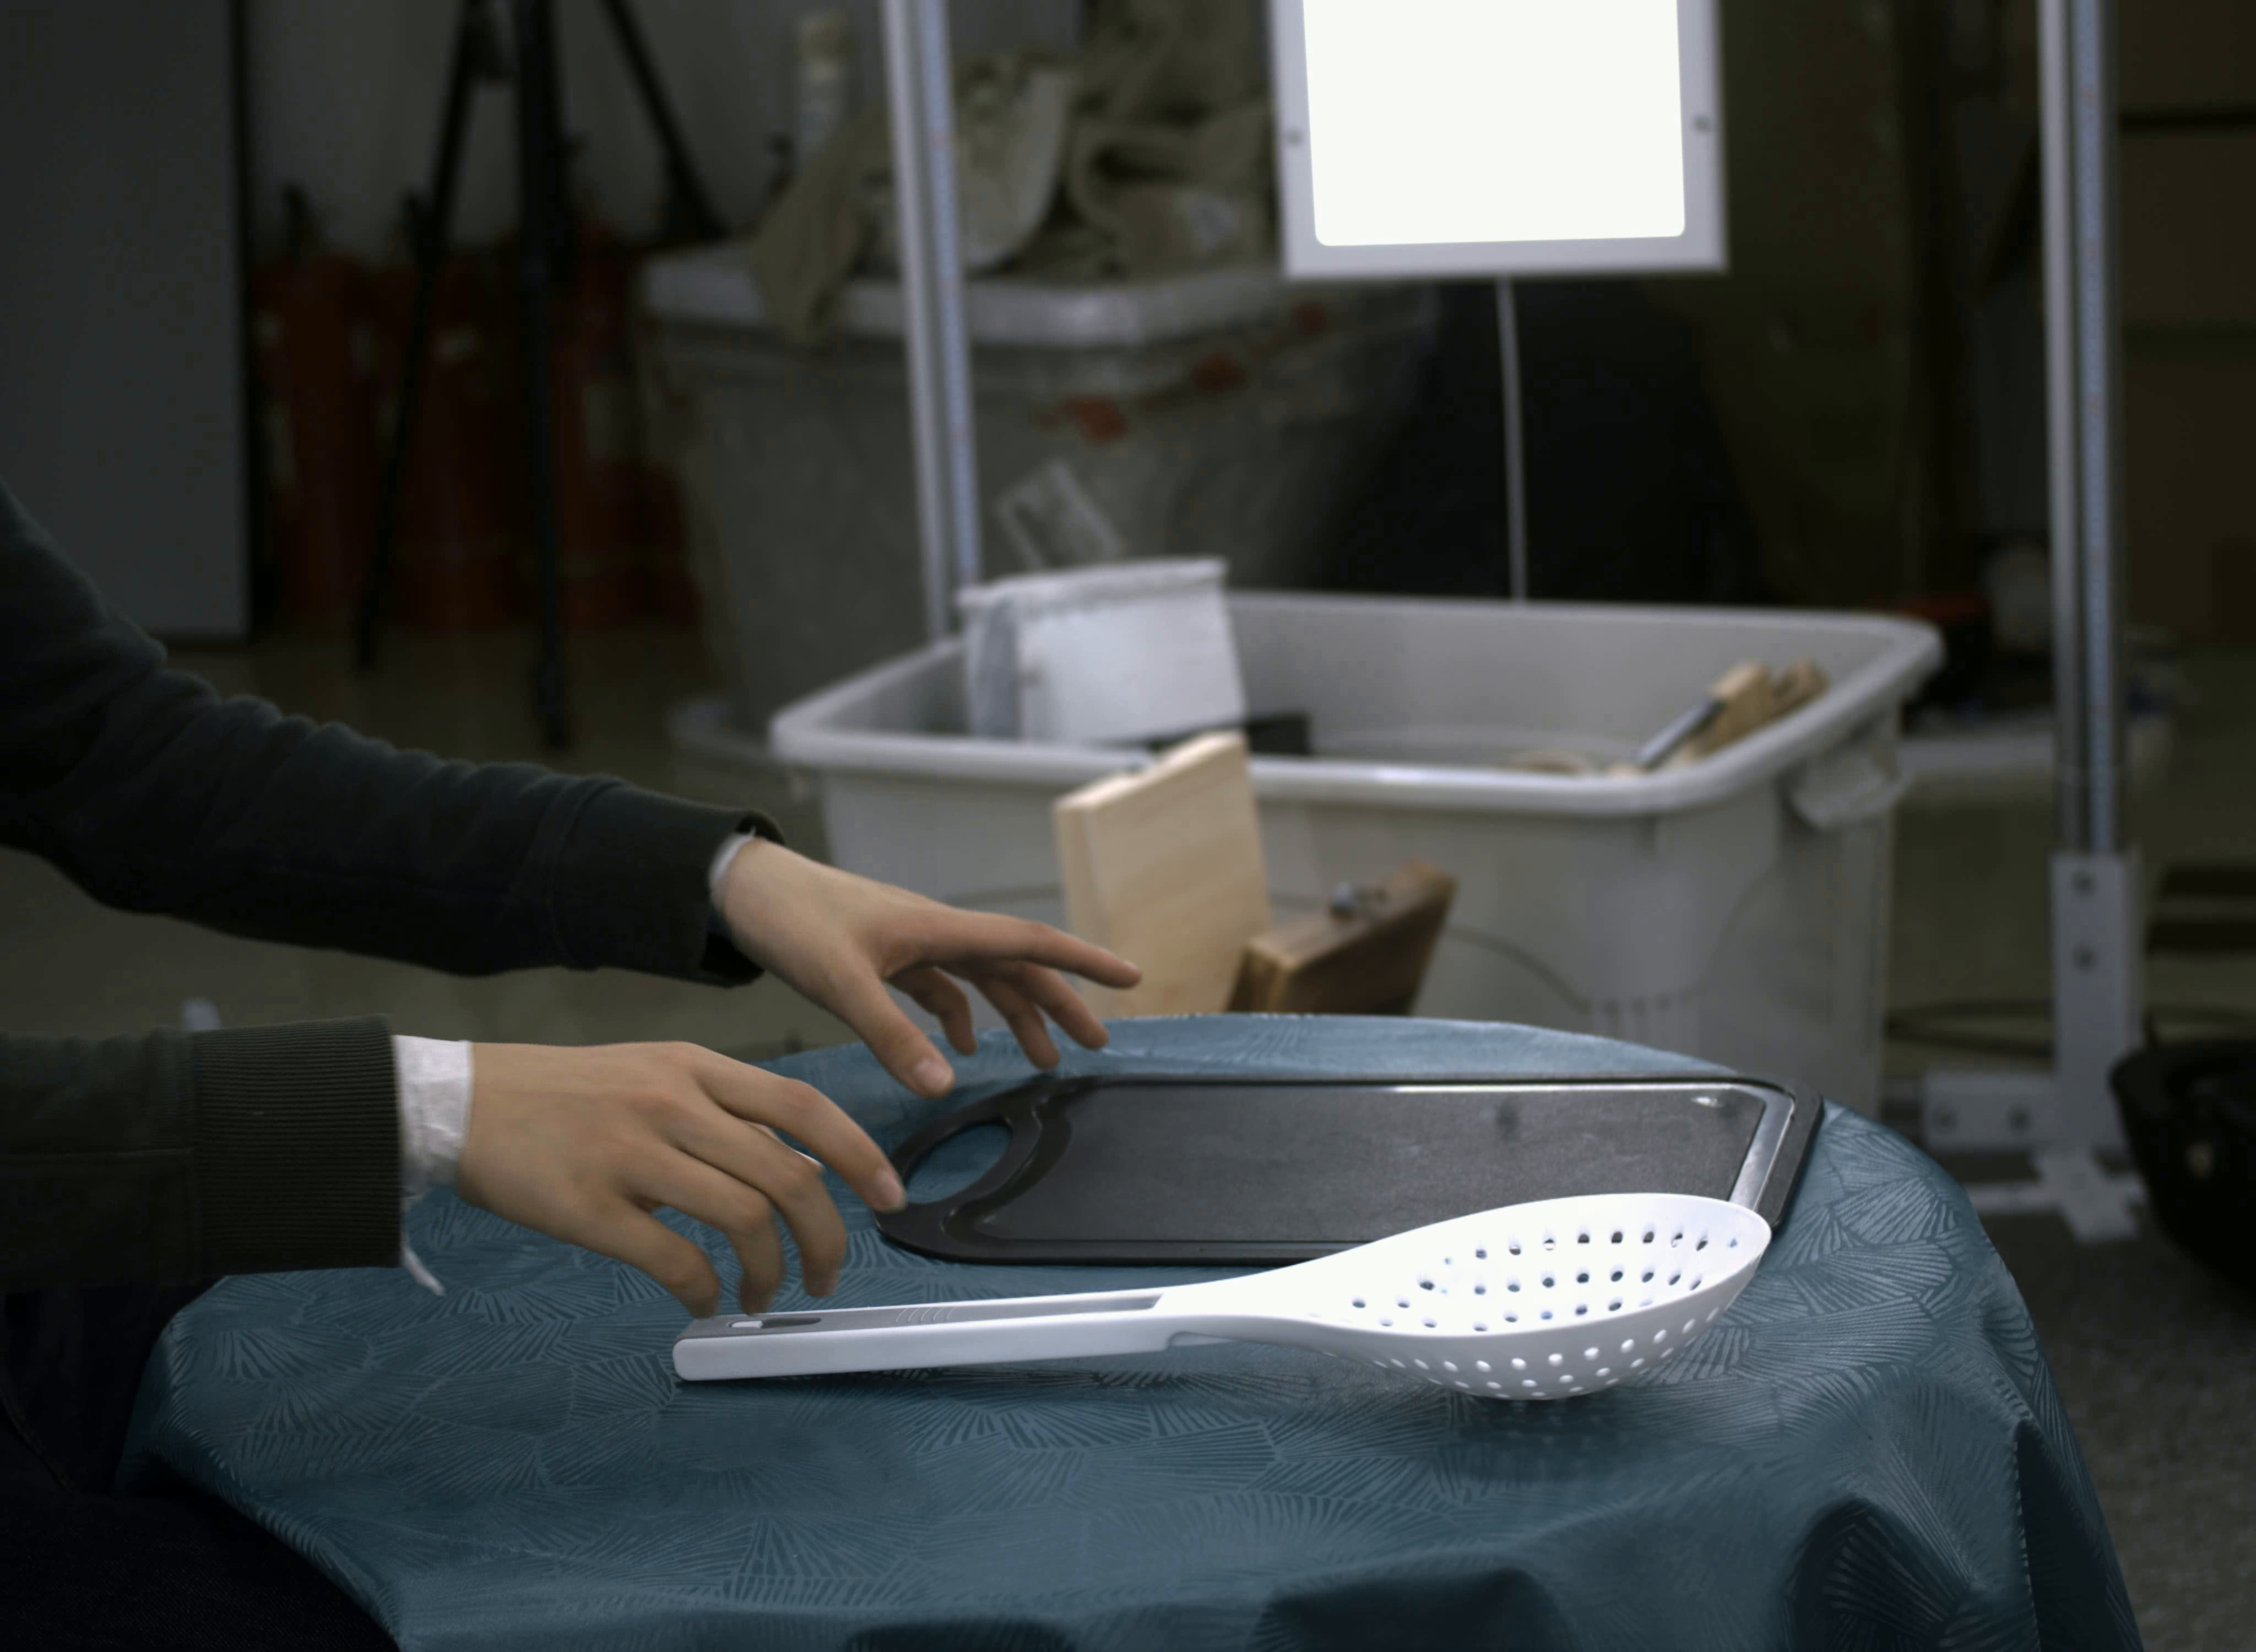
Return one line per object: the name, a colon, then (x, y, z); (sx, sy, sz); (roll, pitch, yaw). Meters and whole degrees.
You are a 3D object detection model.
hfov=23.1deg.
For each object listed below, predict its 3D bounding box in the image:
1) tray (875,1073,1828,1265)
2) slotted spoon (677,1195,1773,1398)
tray: (0.074, 0.115, 1.902); (0.329, 0.010, 0.208); (-1, 14, 16)
slotted spoon: (0.026, 0.149, 1.698); (0.353, 0.046, 0.134); (-1, 12, 17)
